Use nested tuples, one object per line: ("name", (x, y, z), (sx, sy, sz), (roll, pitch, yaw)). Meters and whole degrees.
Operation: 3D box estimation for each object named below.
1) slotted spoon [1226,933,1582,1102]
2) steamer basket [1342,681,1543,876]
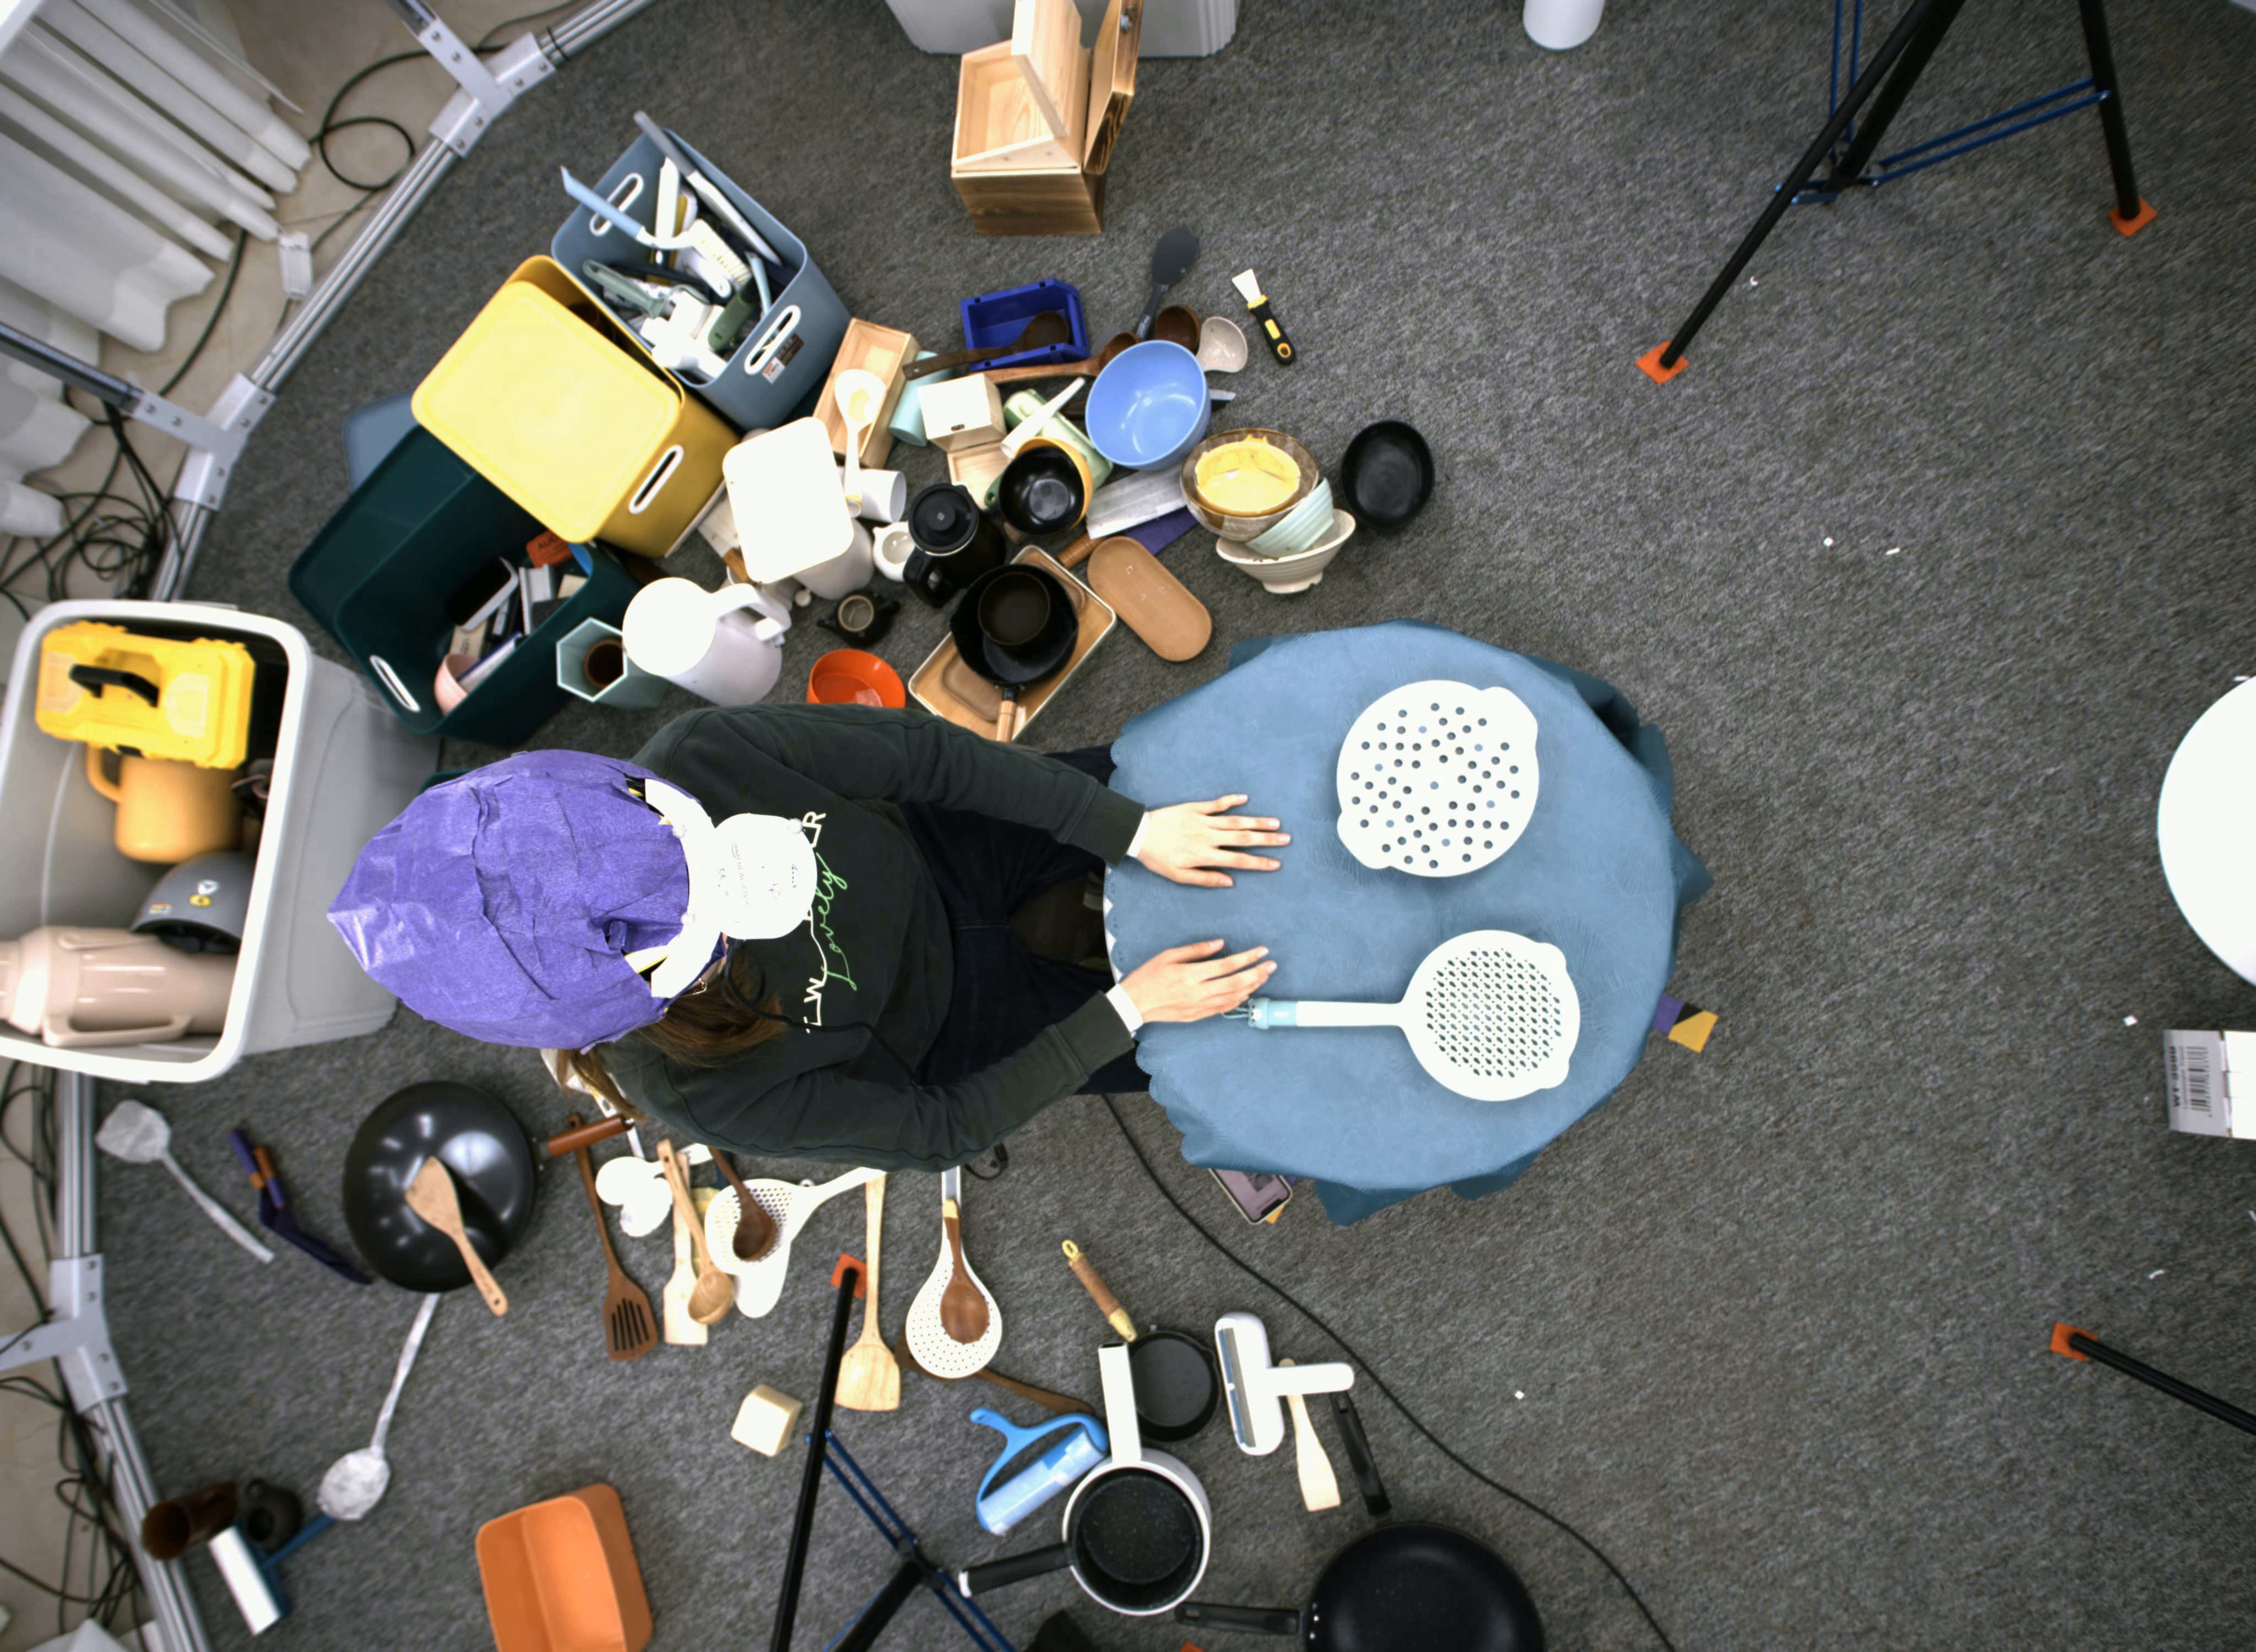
("slotted spoon", (0.277, 0.194, 1.422), (0.360, 0.075, 0.168), (-1, 86, 10))
("steamer basket", (0.325, -0.048, 1.430), (0.231, 0.069, 0.201), (-42, 79, 5))
